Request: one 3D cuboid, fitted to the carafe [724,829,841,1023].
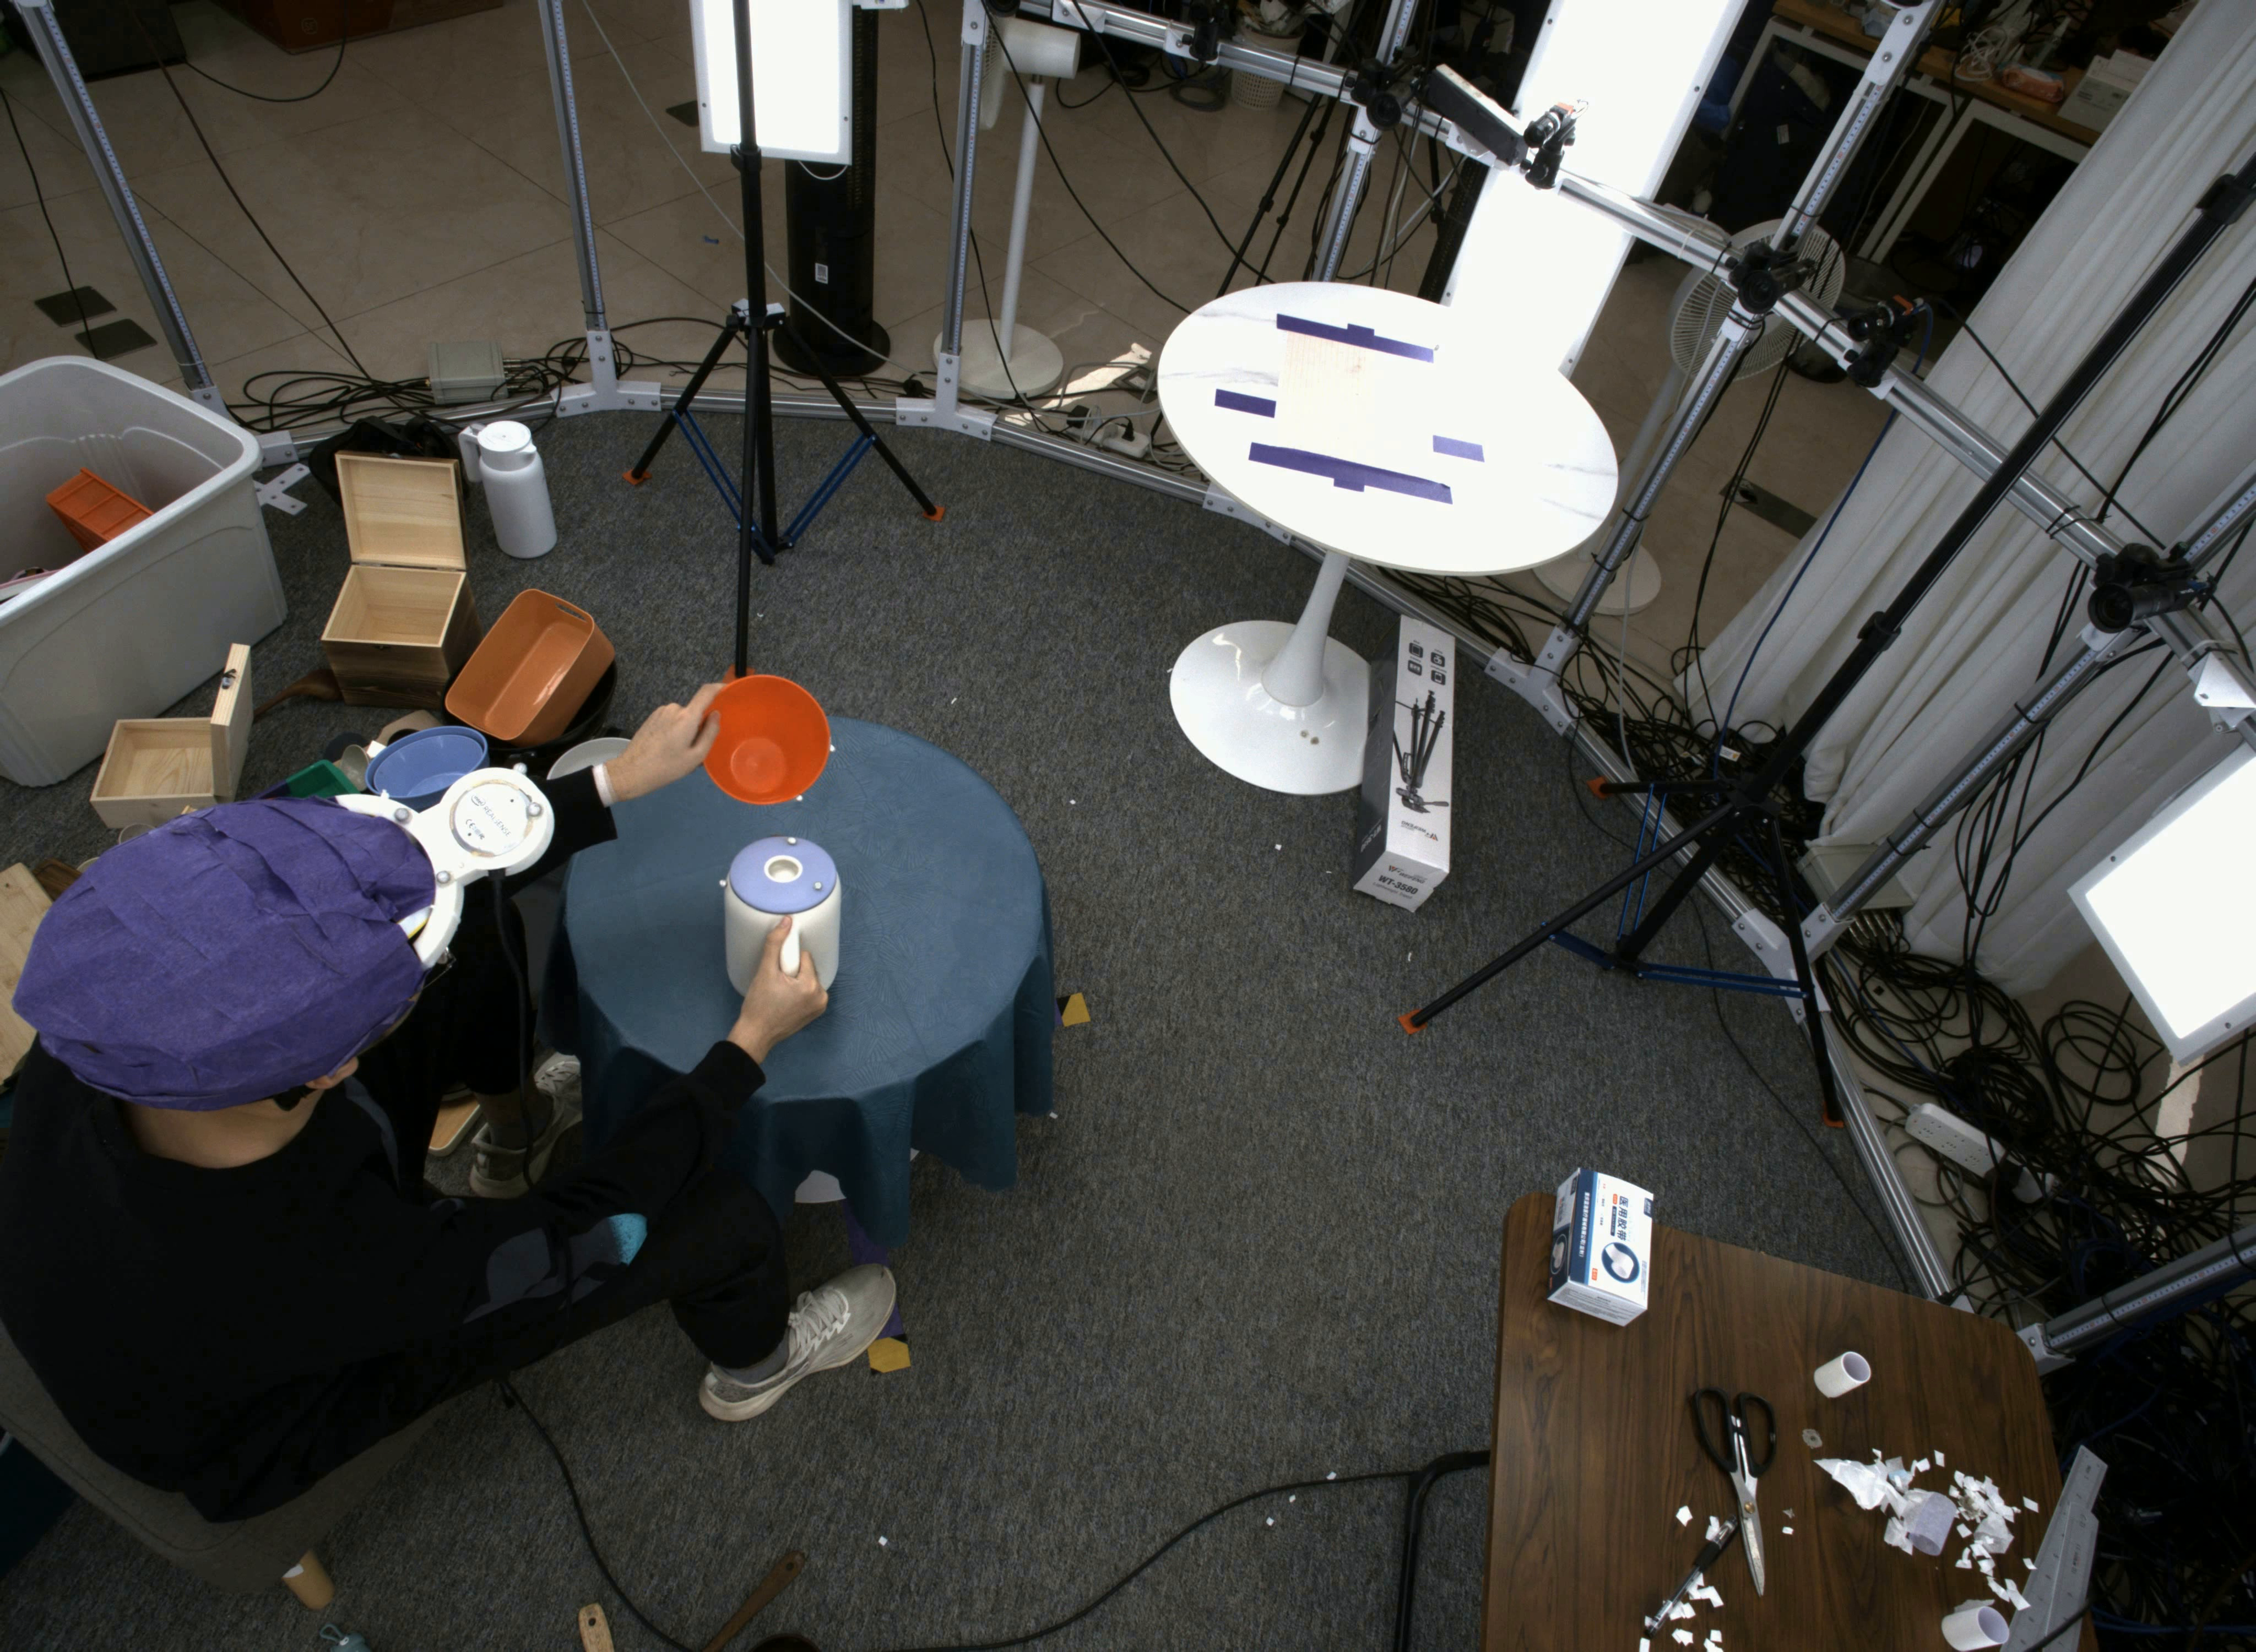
[{"bbox_3d":[-0.396,0.127,1.497,0.133,0.187,0.186,-6,49,-19],"label":"carafe"}]

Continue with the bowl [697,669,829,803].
[{"bbox_3d":[-0.426,-0.096,1.505,0.149,0.103,0.149,3,82,-20],"label":"bowl"}]
